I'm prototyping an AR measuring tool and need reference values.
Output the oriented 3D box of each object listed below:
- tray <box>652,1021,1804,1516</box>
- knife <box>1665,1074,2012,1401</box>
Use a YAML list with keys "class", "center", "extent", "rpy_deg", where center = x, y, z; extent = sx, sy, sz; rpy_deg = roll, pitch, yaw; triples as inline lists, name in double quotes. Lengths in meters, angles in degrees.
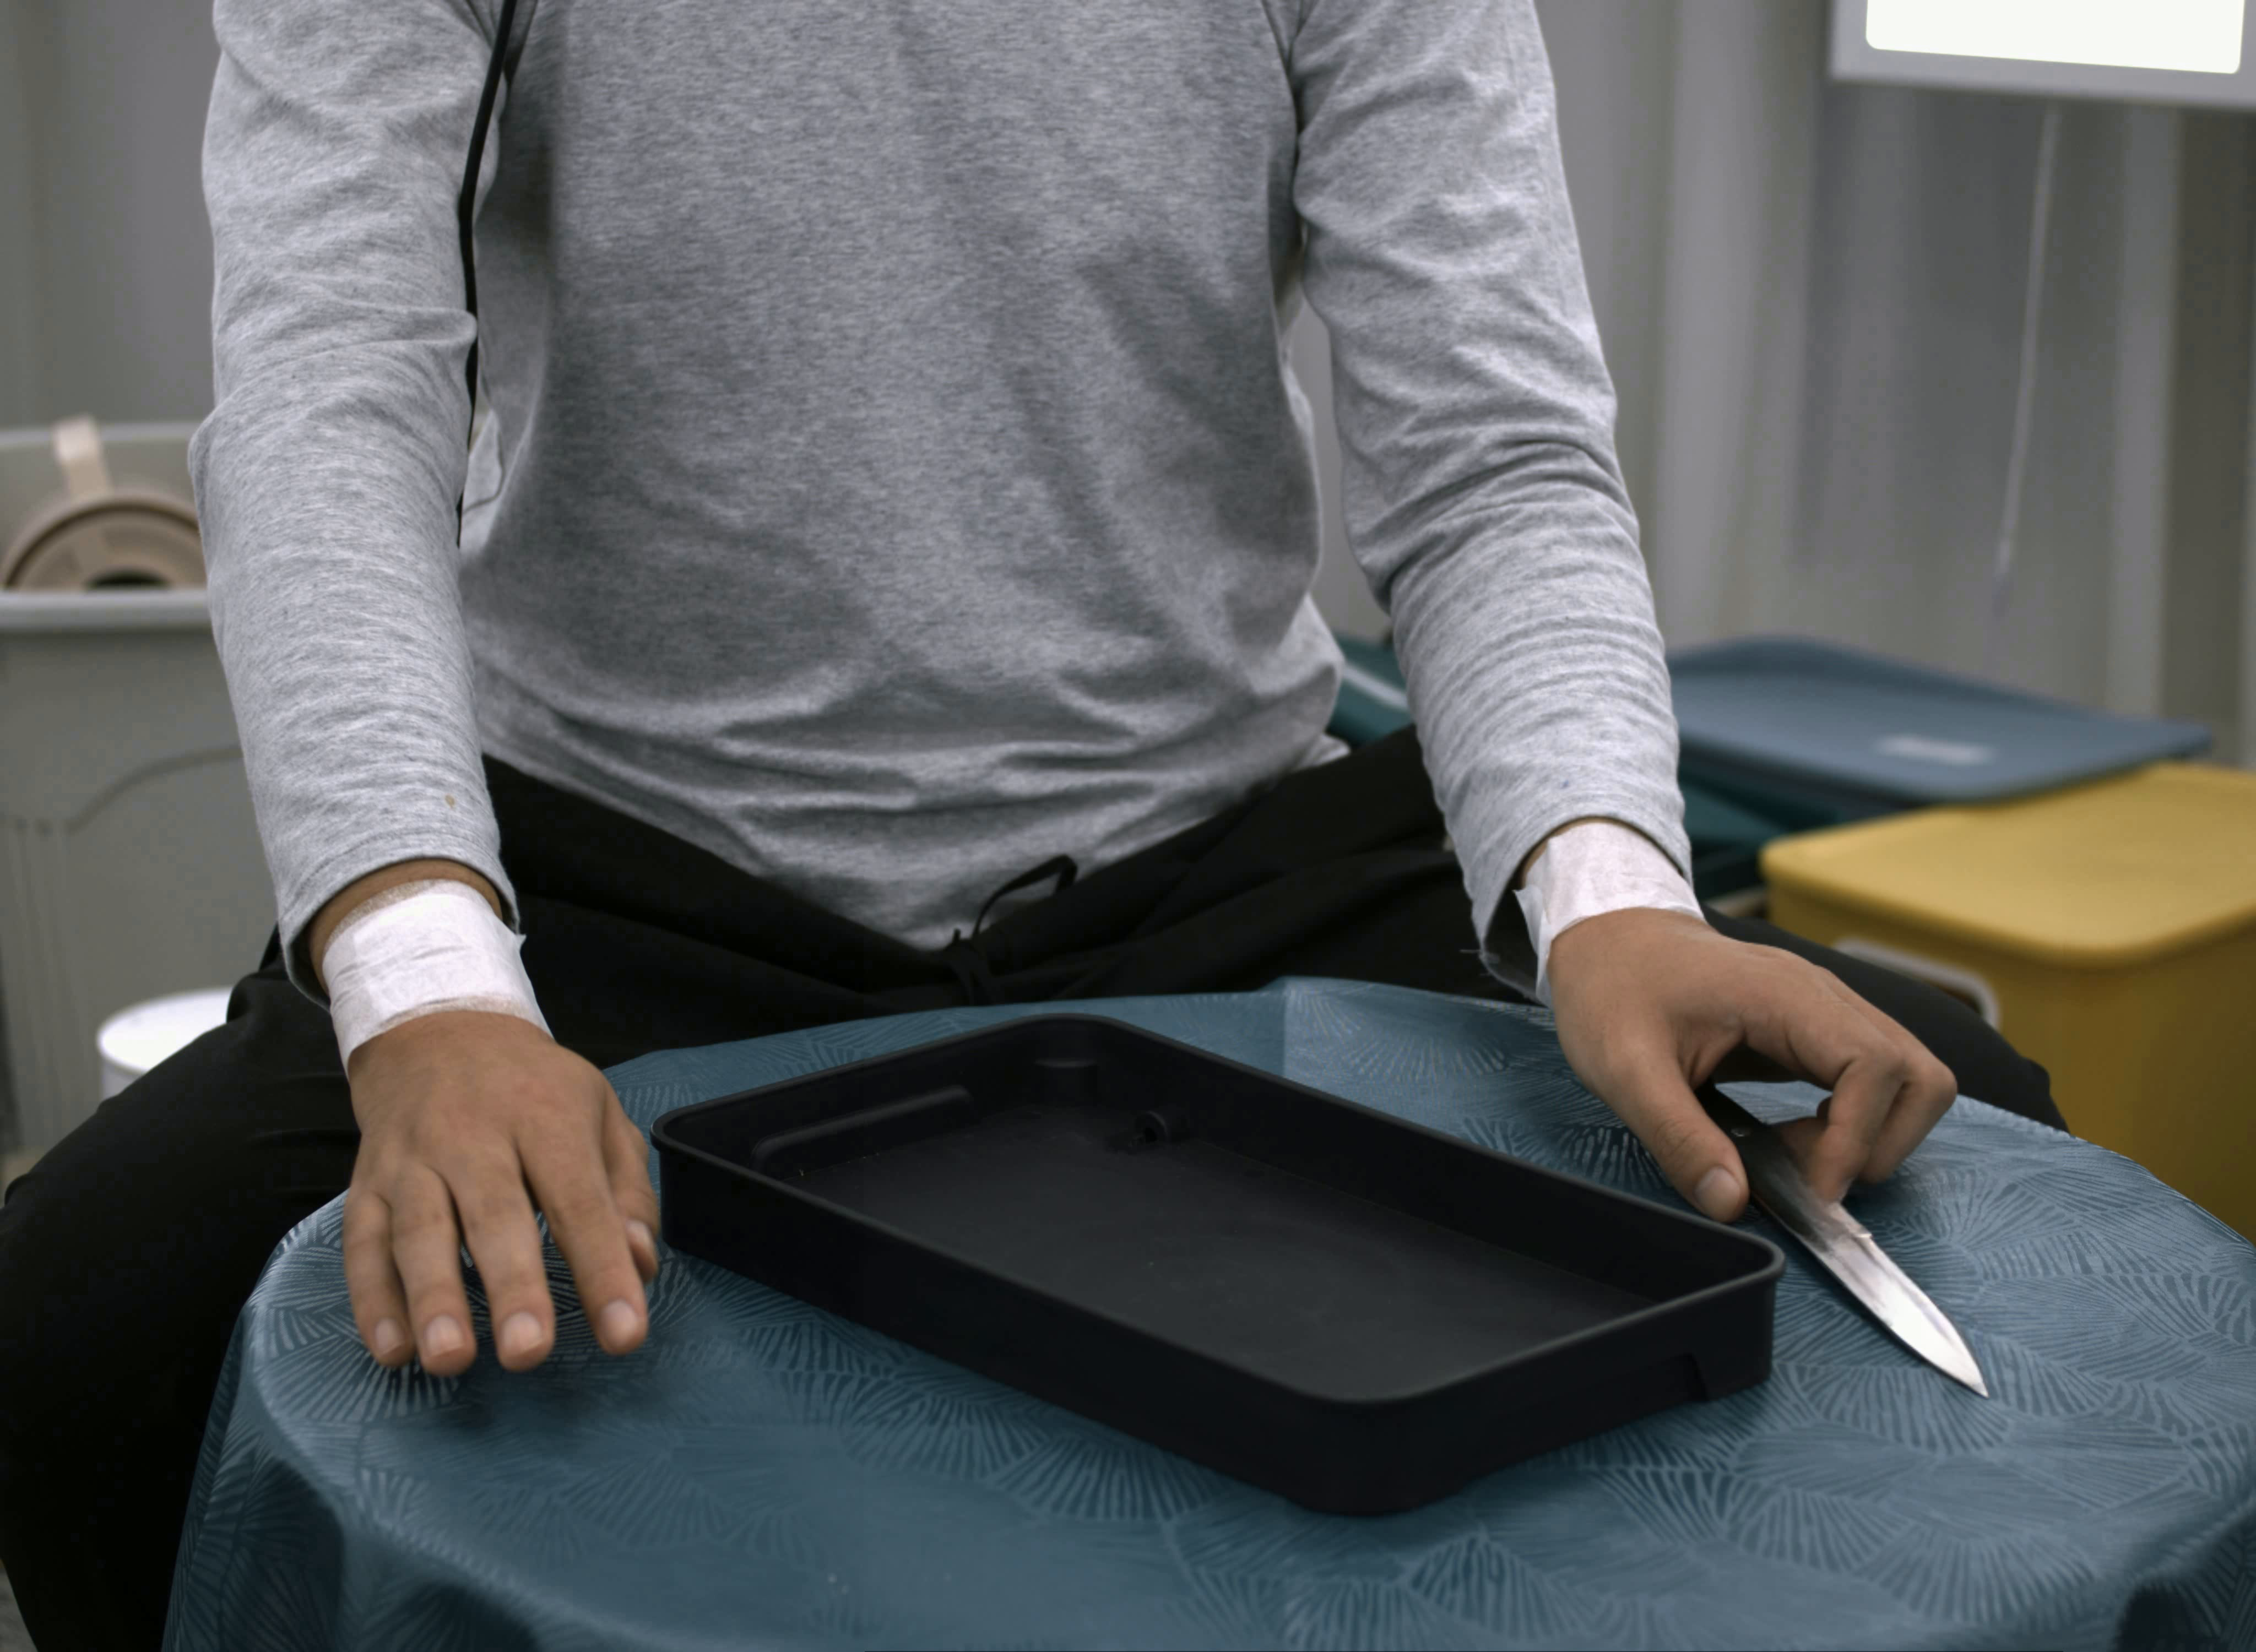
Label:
- class: "tray"
  center: [0.024, 0.122, 1.525]
  extent: [0.185, 0.037, 0.313]
  rpy_deg: [-13, 20, -43]
- class: "knife"
  center: [0.208, 0.122, 1.570]
  extent: [0.024, 0.016, 0.235]
  rpy_deg: [-4, 20, -16]
